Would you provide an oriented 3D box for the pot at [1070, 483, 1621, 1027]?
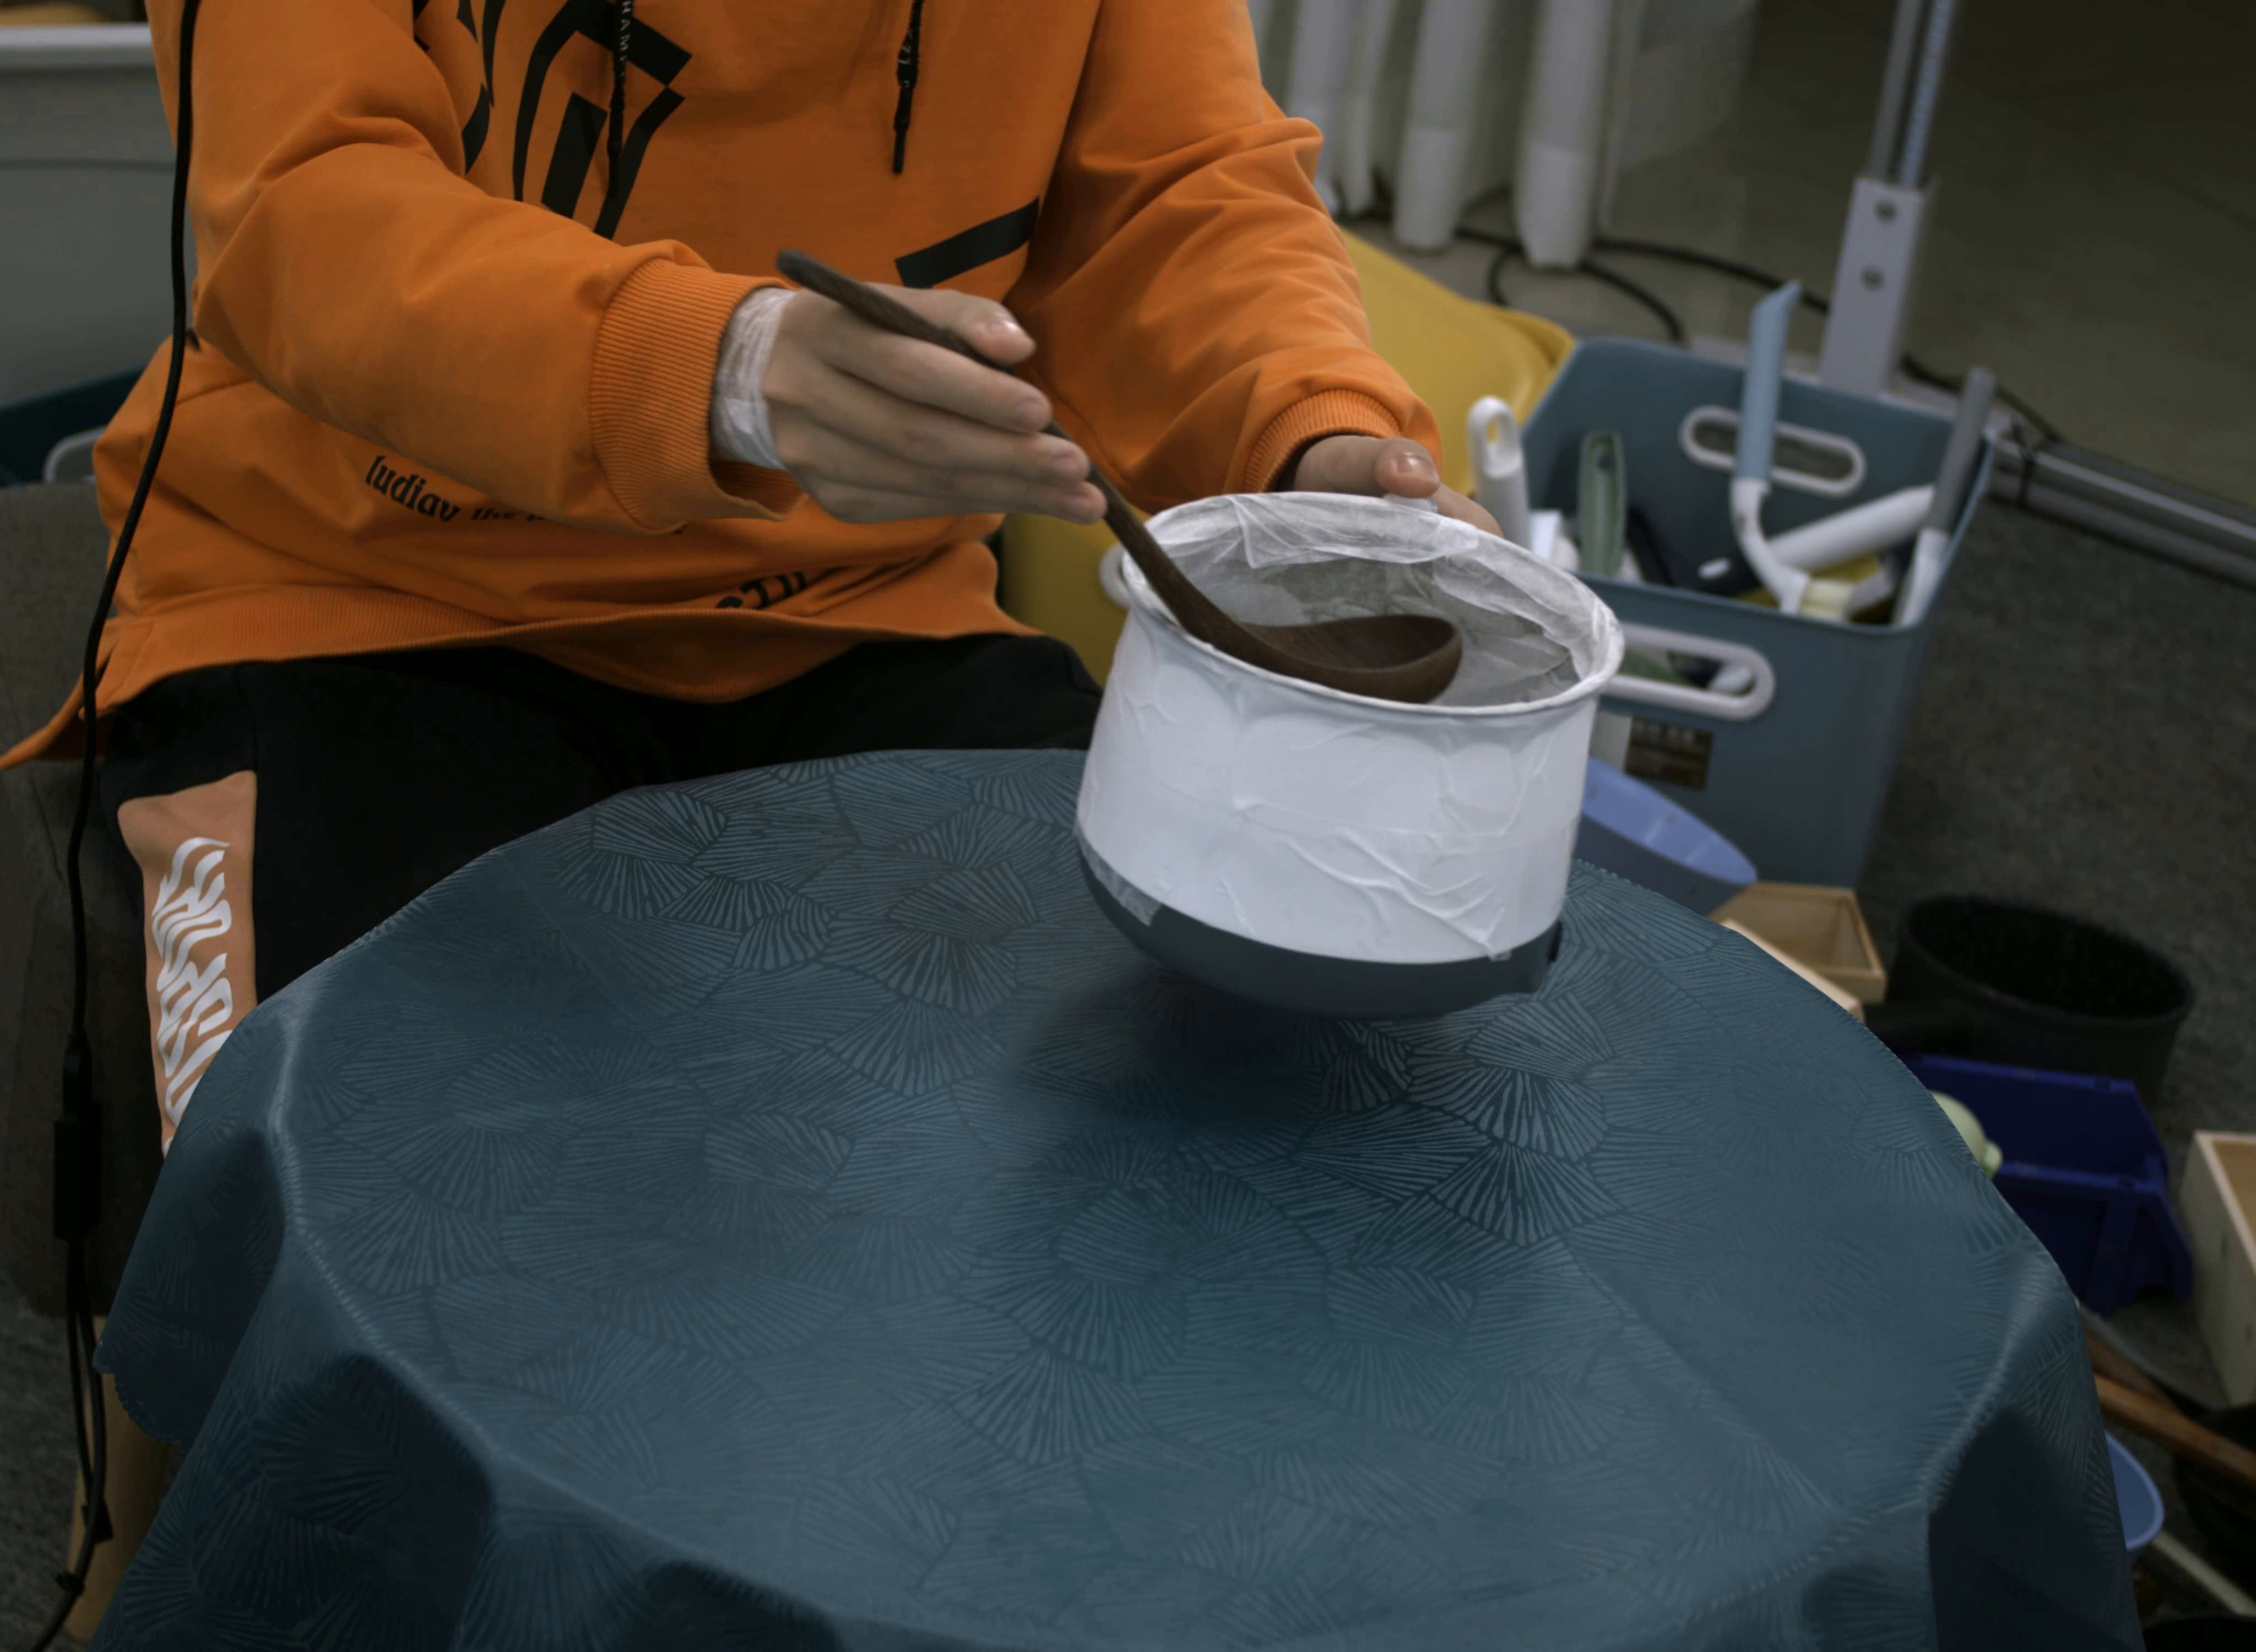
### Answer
[{"bbox_3d":[0.077,-0.035,1.889,0.178,0.136,0.234,13,26,4],"label":"pot"}]

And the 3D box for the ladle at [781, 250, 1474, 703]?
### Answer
[{"bbox_3d":[0.005,-0.125,1.779,0.272,0.071,0.076,42,-5,-20],"label":"ladle"}]
